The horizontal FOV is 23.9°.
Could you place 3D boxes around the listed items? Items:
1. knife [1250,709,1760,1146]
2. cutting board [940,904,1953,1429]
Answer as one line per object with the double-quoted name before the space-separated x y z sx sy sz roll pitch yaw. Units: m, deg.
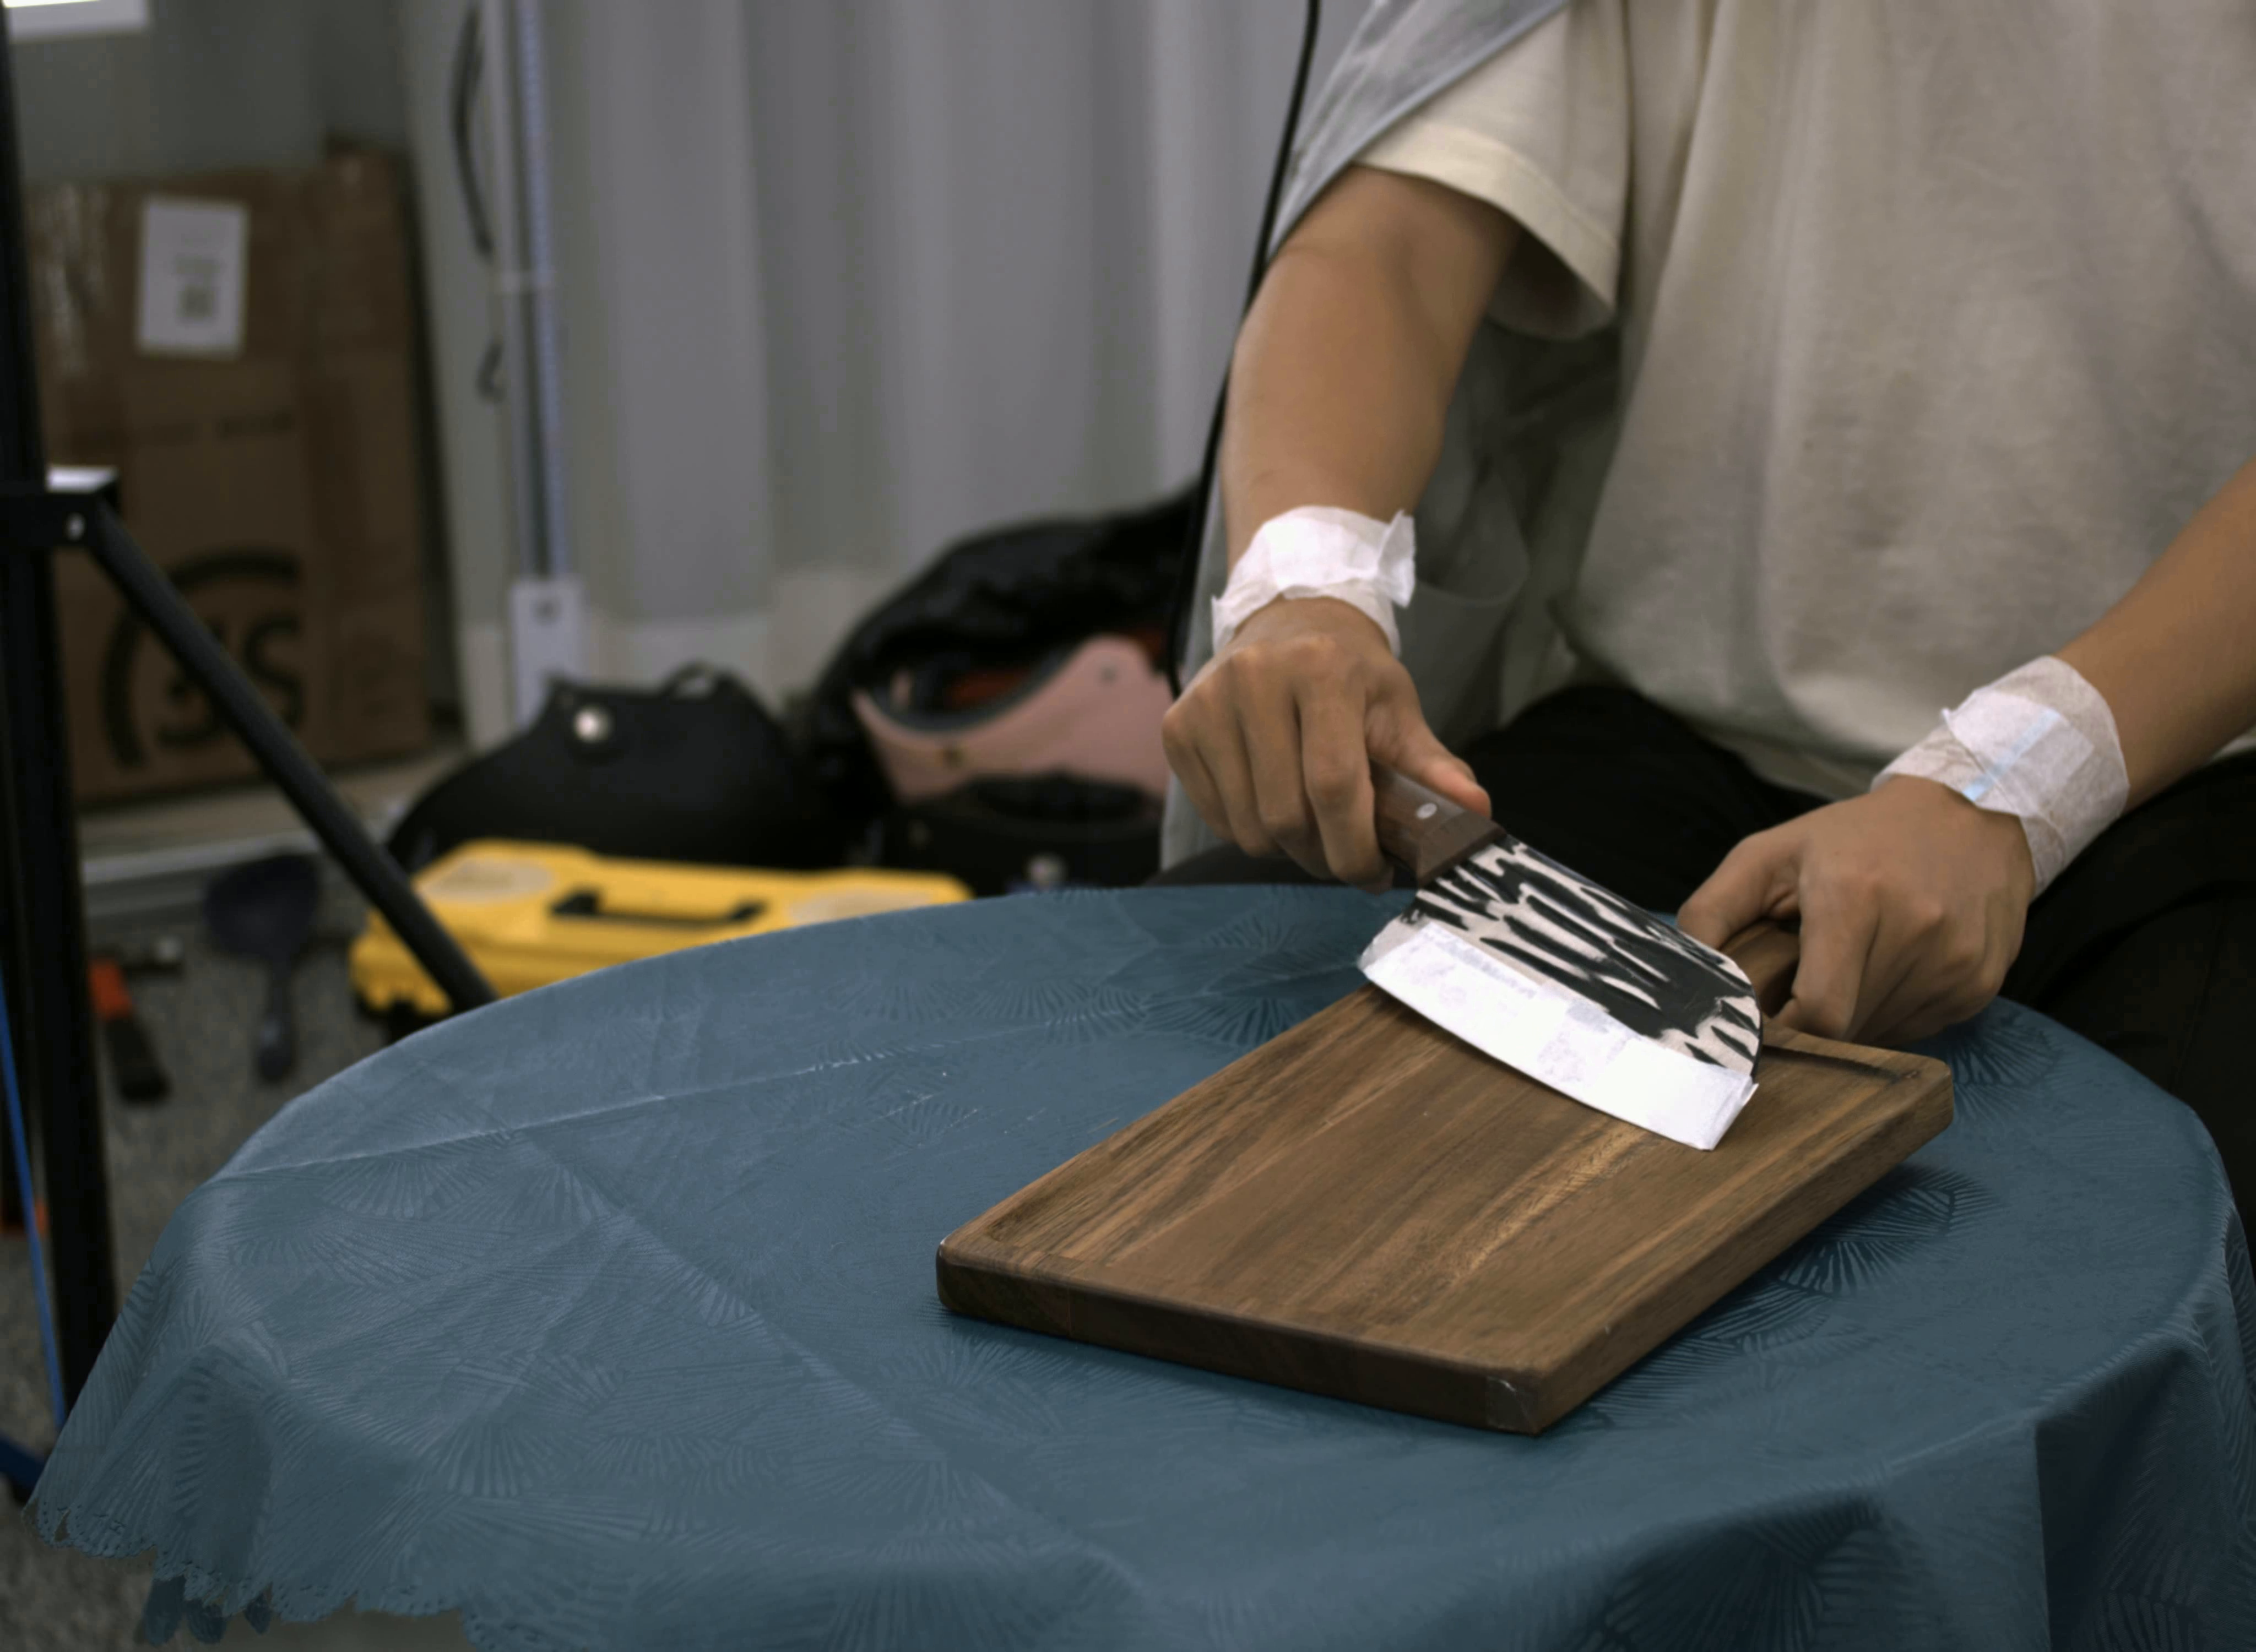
"knife" 0.106 0.029 1.626 0.067 0.023 0.306 -38 33 -13
"cutting board" 0.122 0.086 1.540 0.205 0.023 0.345 8 22 34
